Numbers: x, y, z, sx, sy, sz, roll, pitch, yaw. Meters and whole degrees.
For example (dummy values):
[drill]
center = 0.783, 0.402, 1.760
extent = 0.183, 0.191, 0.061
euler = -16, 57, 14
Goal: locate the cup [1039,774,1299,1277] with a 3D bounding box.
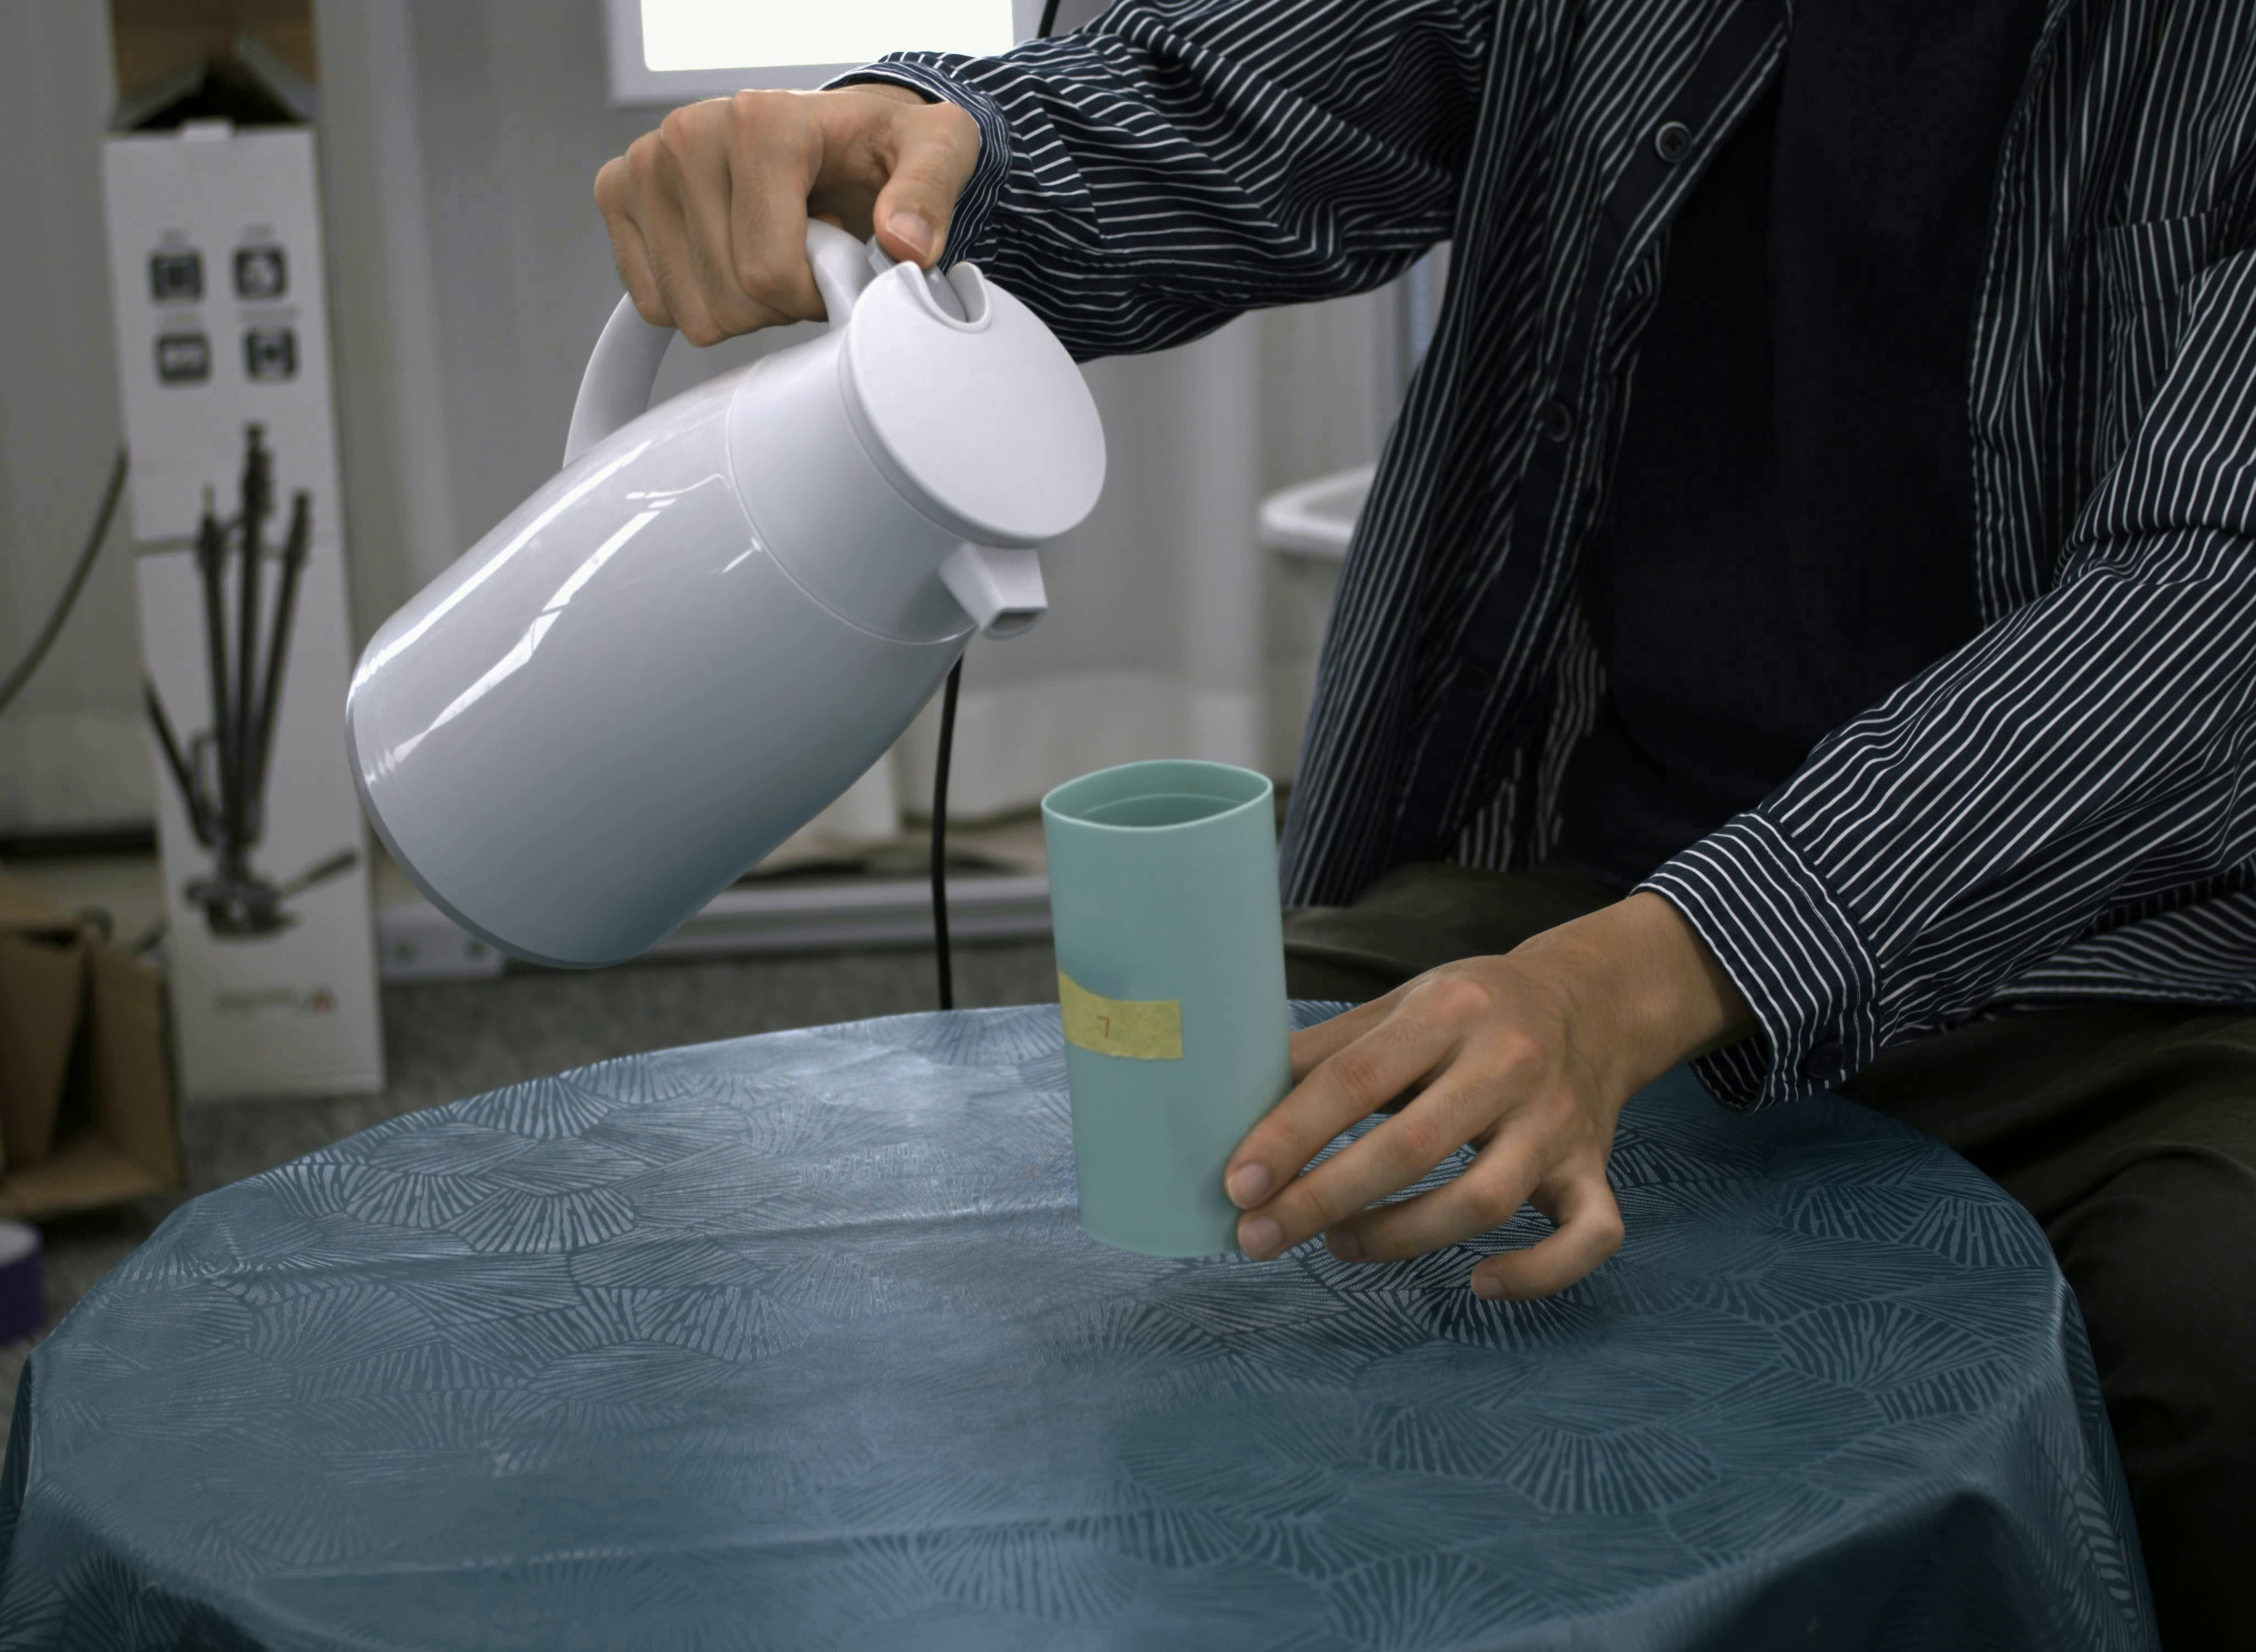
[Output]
[cup]
center = 0.014, 0.056, 1.576
extent = 0.066, 0.132, 0.067
euler = -5, 15, 1

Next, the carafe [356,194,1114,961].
[carafe]
center = -0.119, -0.089, 1.641
extent = 0.132, 0.169, 0.247
euler = -7, -24, -45
